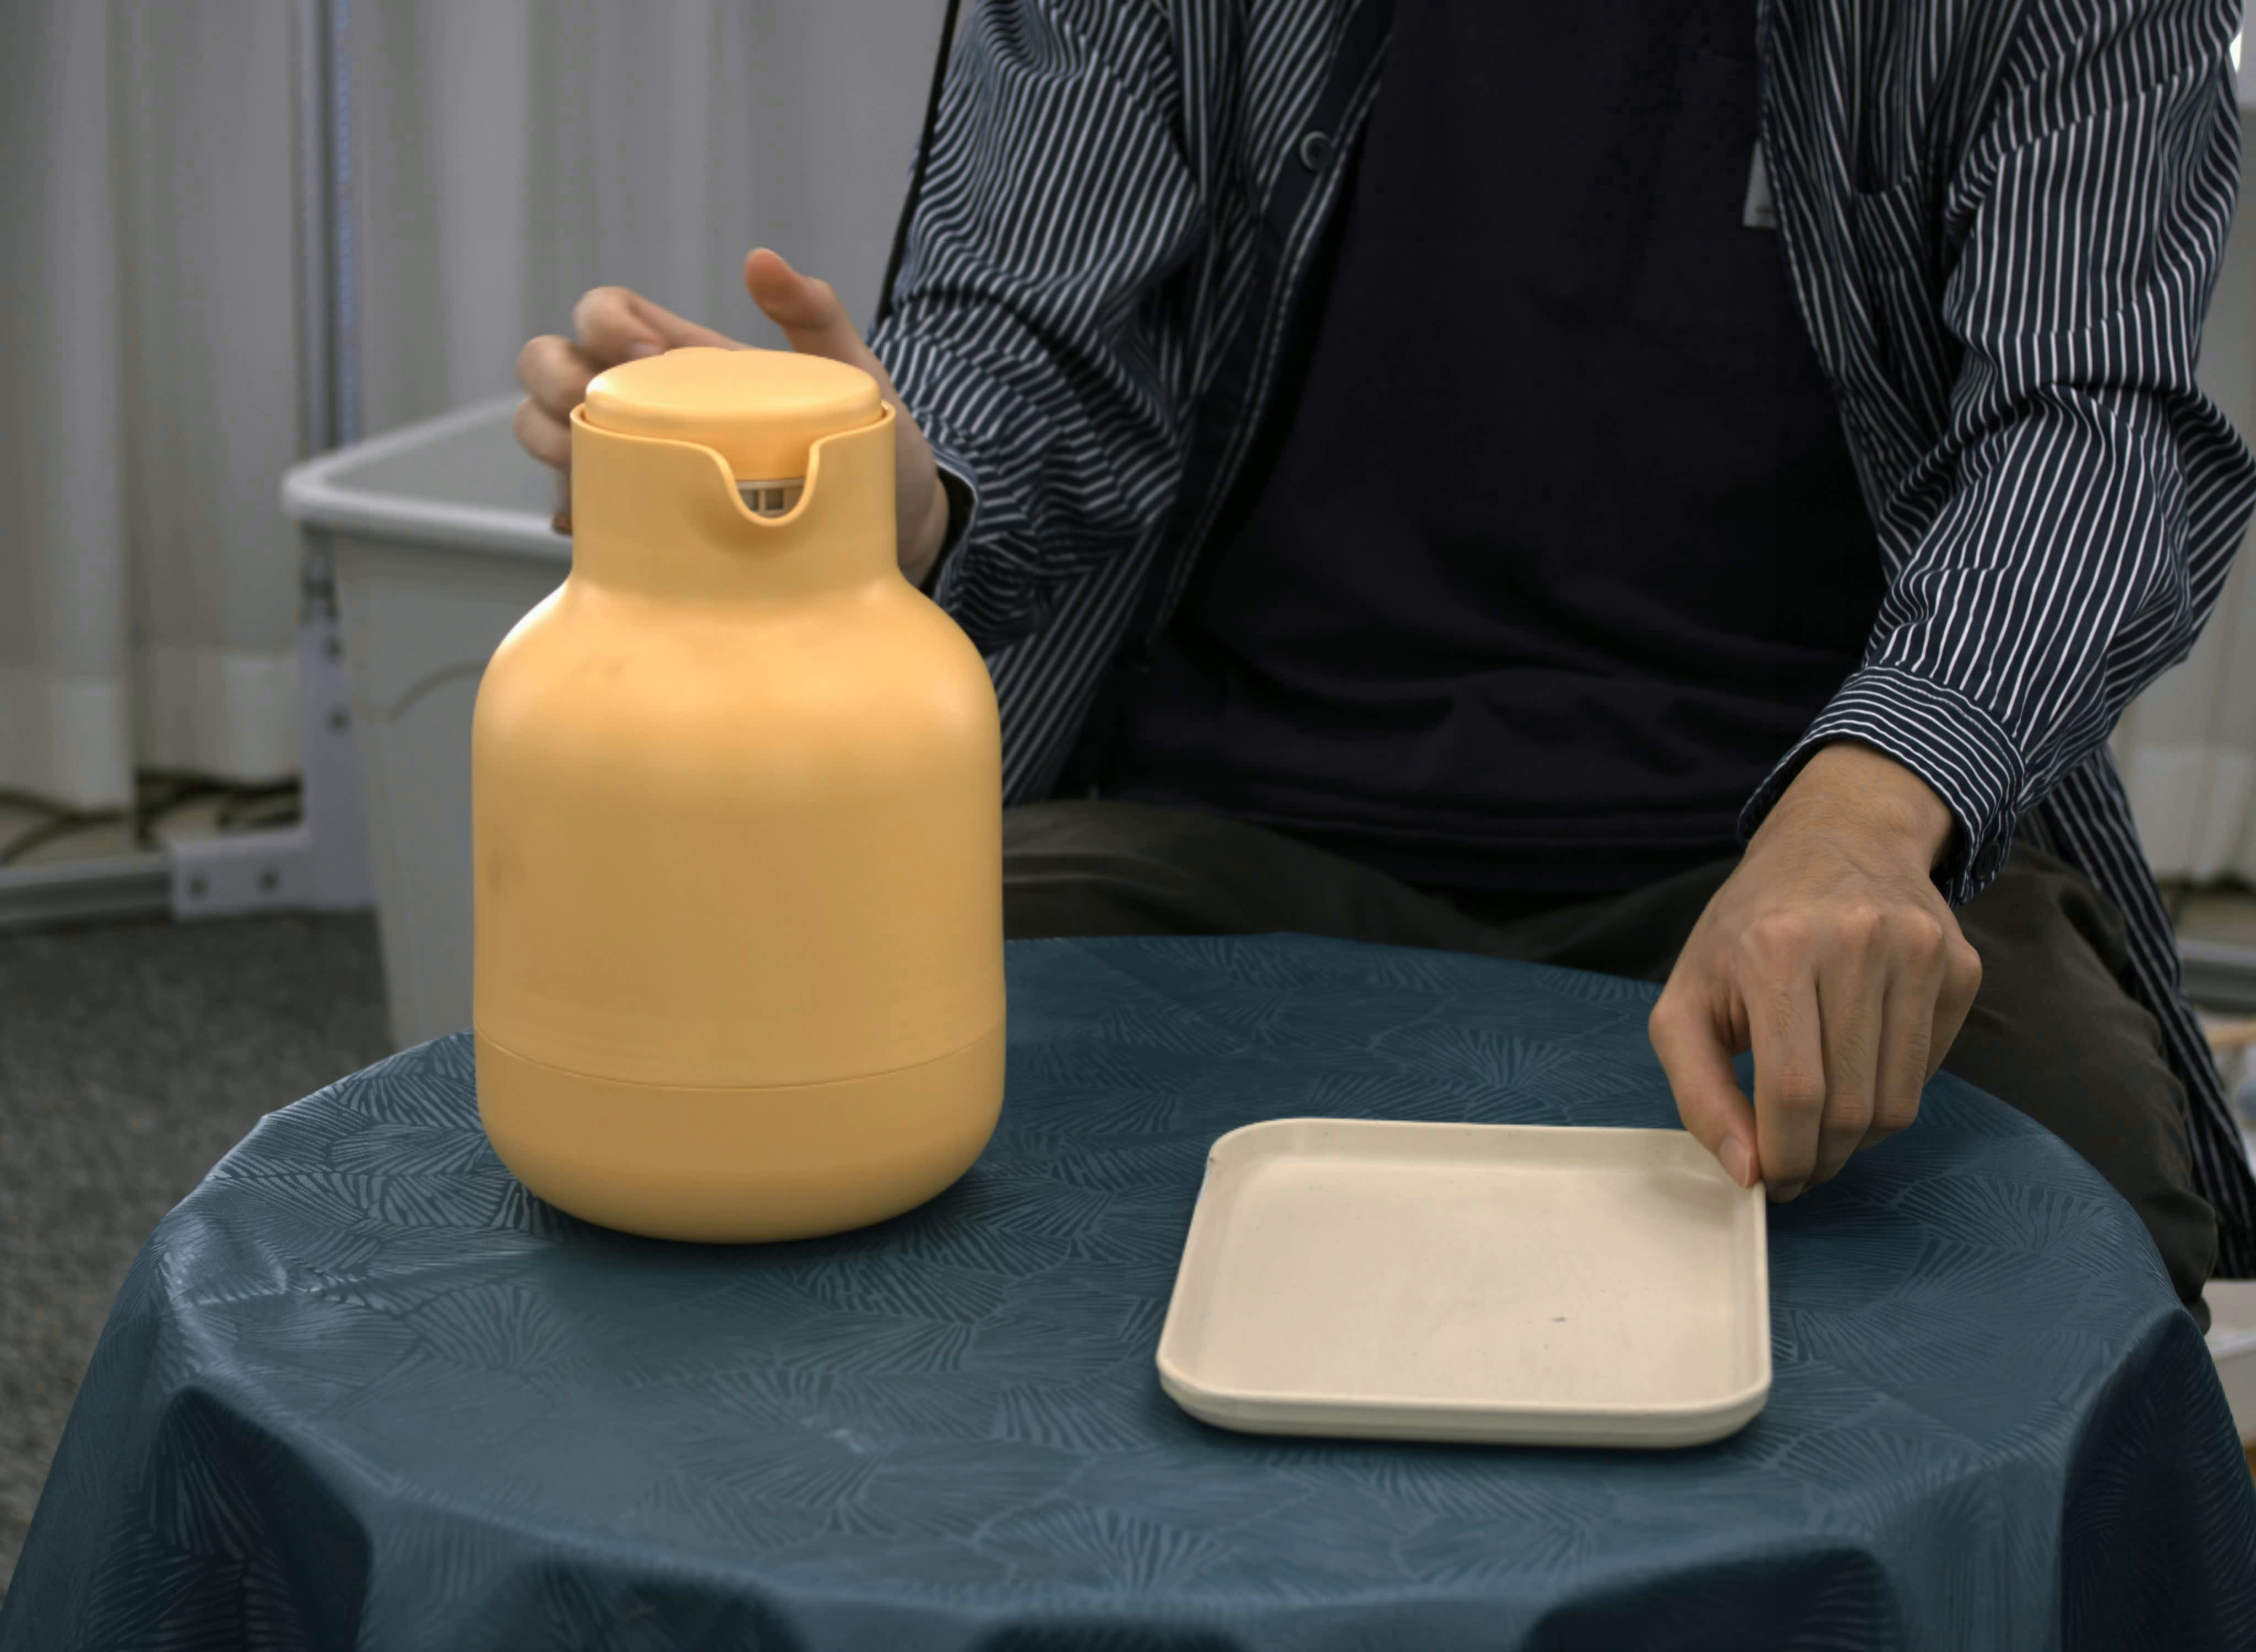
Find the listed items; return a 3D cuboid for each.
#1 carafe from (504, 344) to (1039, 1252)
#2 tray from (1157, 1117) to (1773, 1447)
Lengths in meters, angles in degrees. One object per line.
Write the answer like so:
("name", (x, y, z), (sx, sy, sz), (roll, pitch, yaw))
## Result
("carafe", (-0.111, -0.017, 1.604), (0.164, 0.262, 0.200), (-2, 16, -16))
("tray", (0.100, 0.131, 1.531), (0.170, 0.017, 0.239), (2, 15, 5))
